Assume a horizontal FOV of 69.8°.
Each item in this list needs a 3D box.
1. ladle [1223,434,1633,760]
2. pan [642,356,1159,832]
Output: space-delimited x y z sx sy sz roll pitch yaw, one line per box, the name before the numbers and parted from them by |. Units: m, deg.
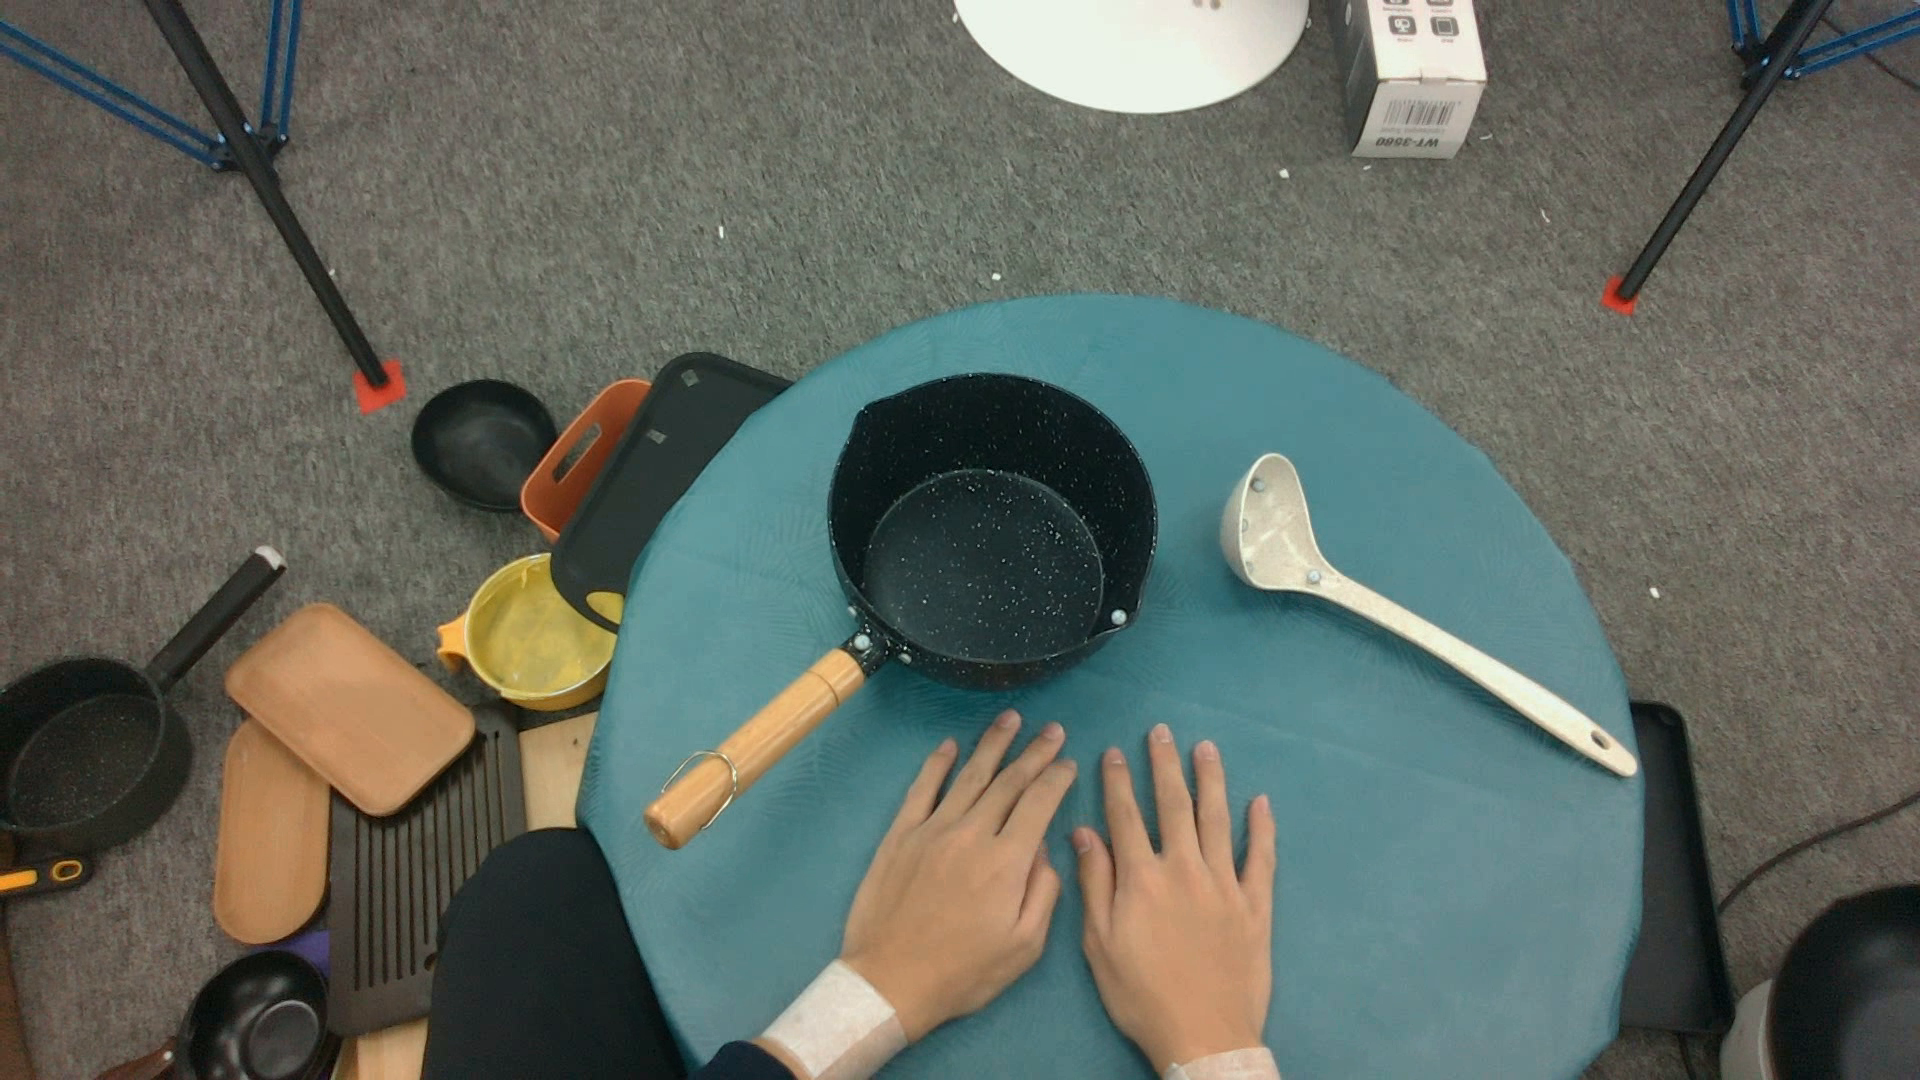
ladle | 0.277 0.036 0.793 0.275 0.069 0.090 32 59 11
pan | -0.034 0.042 0.753 0.207 0.108 0.344 37 65 14
